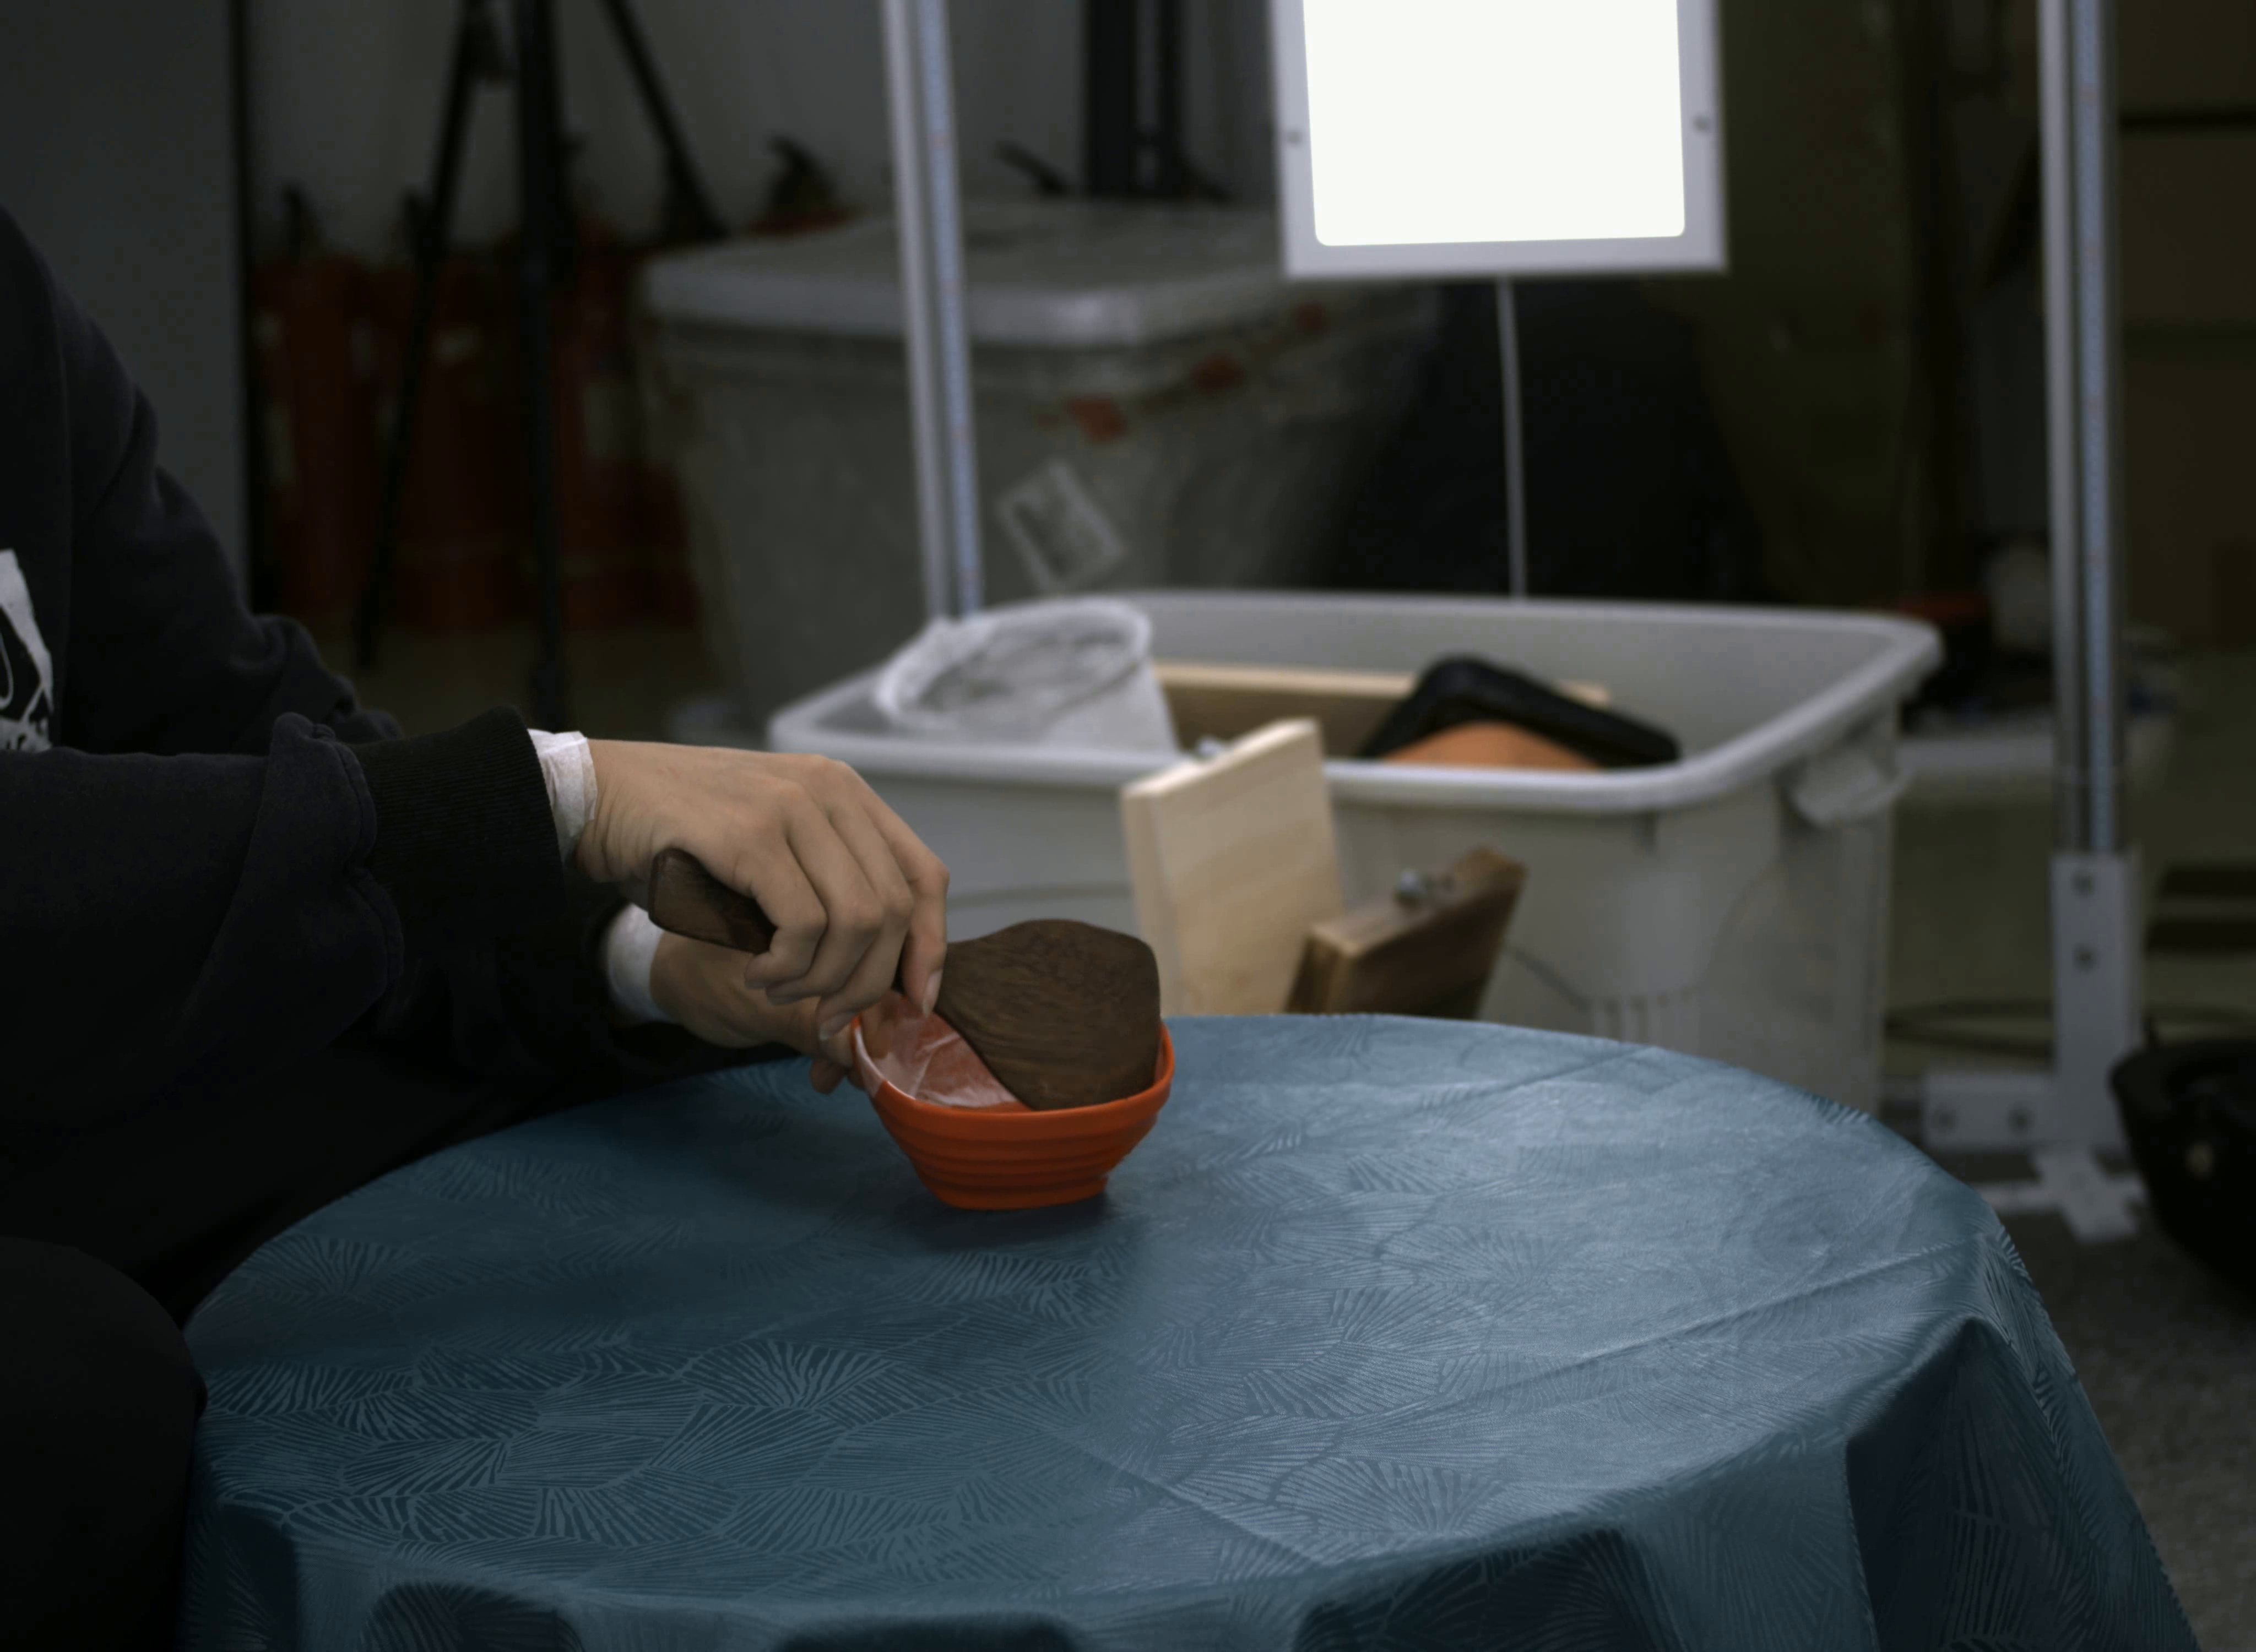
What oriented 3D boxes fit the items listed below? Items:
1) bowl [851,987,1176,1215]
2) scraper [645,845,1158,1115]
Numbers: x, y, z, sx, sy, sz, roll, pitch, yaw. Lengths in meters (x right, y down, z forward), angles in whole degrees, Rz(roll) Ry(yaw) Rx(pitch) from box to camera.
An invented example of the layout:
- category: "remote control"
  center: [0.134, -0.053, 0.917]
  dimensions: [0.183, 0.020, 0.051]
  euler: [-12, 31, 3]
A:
- category: "bowl"
  center: [-0.041, 0.095, 1.907]
  dimensions: [0.118, 0.052, 0.118]
  euler: [2, 28, -2]
- category: "scraper"
  center: [-0.074, 0.047, 1.850]
  dimensions: [0.207, 0.075, 0.011]
  euler: [20, -22, -33]
